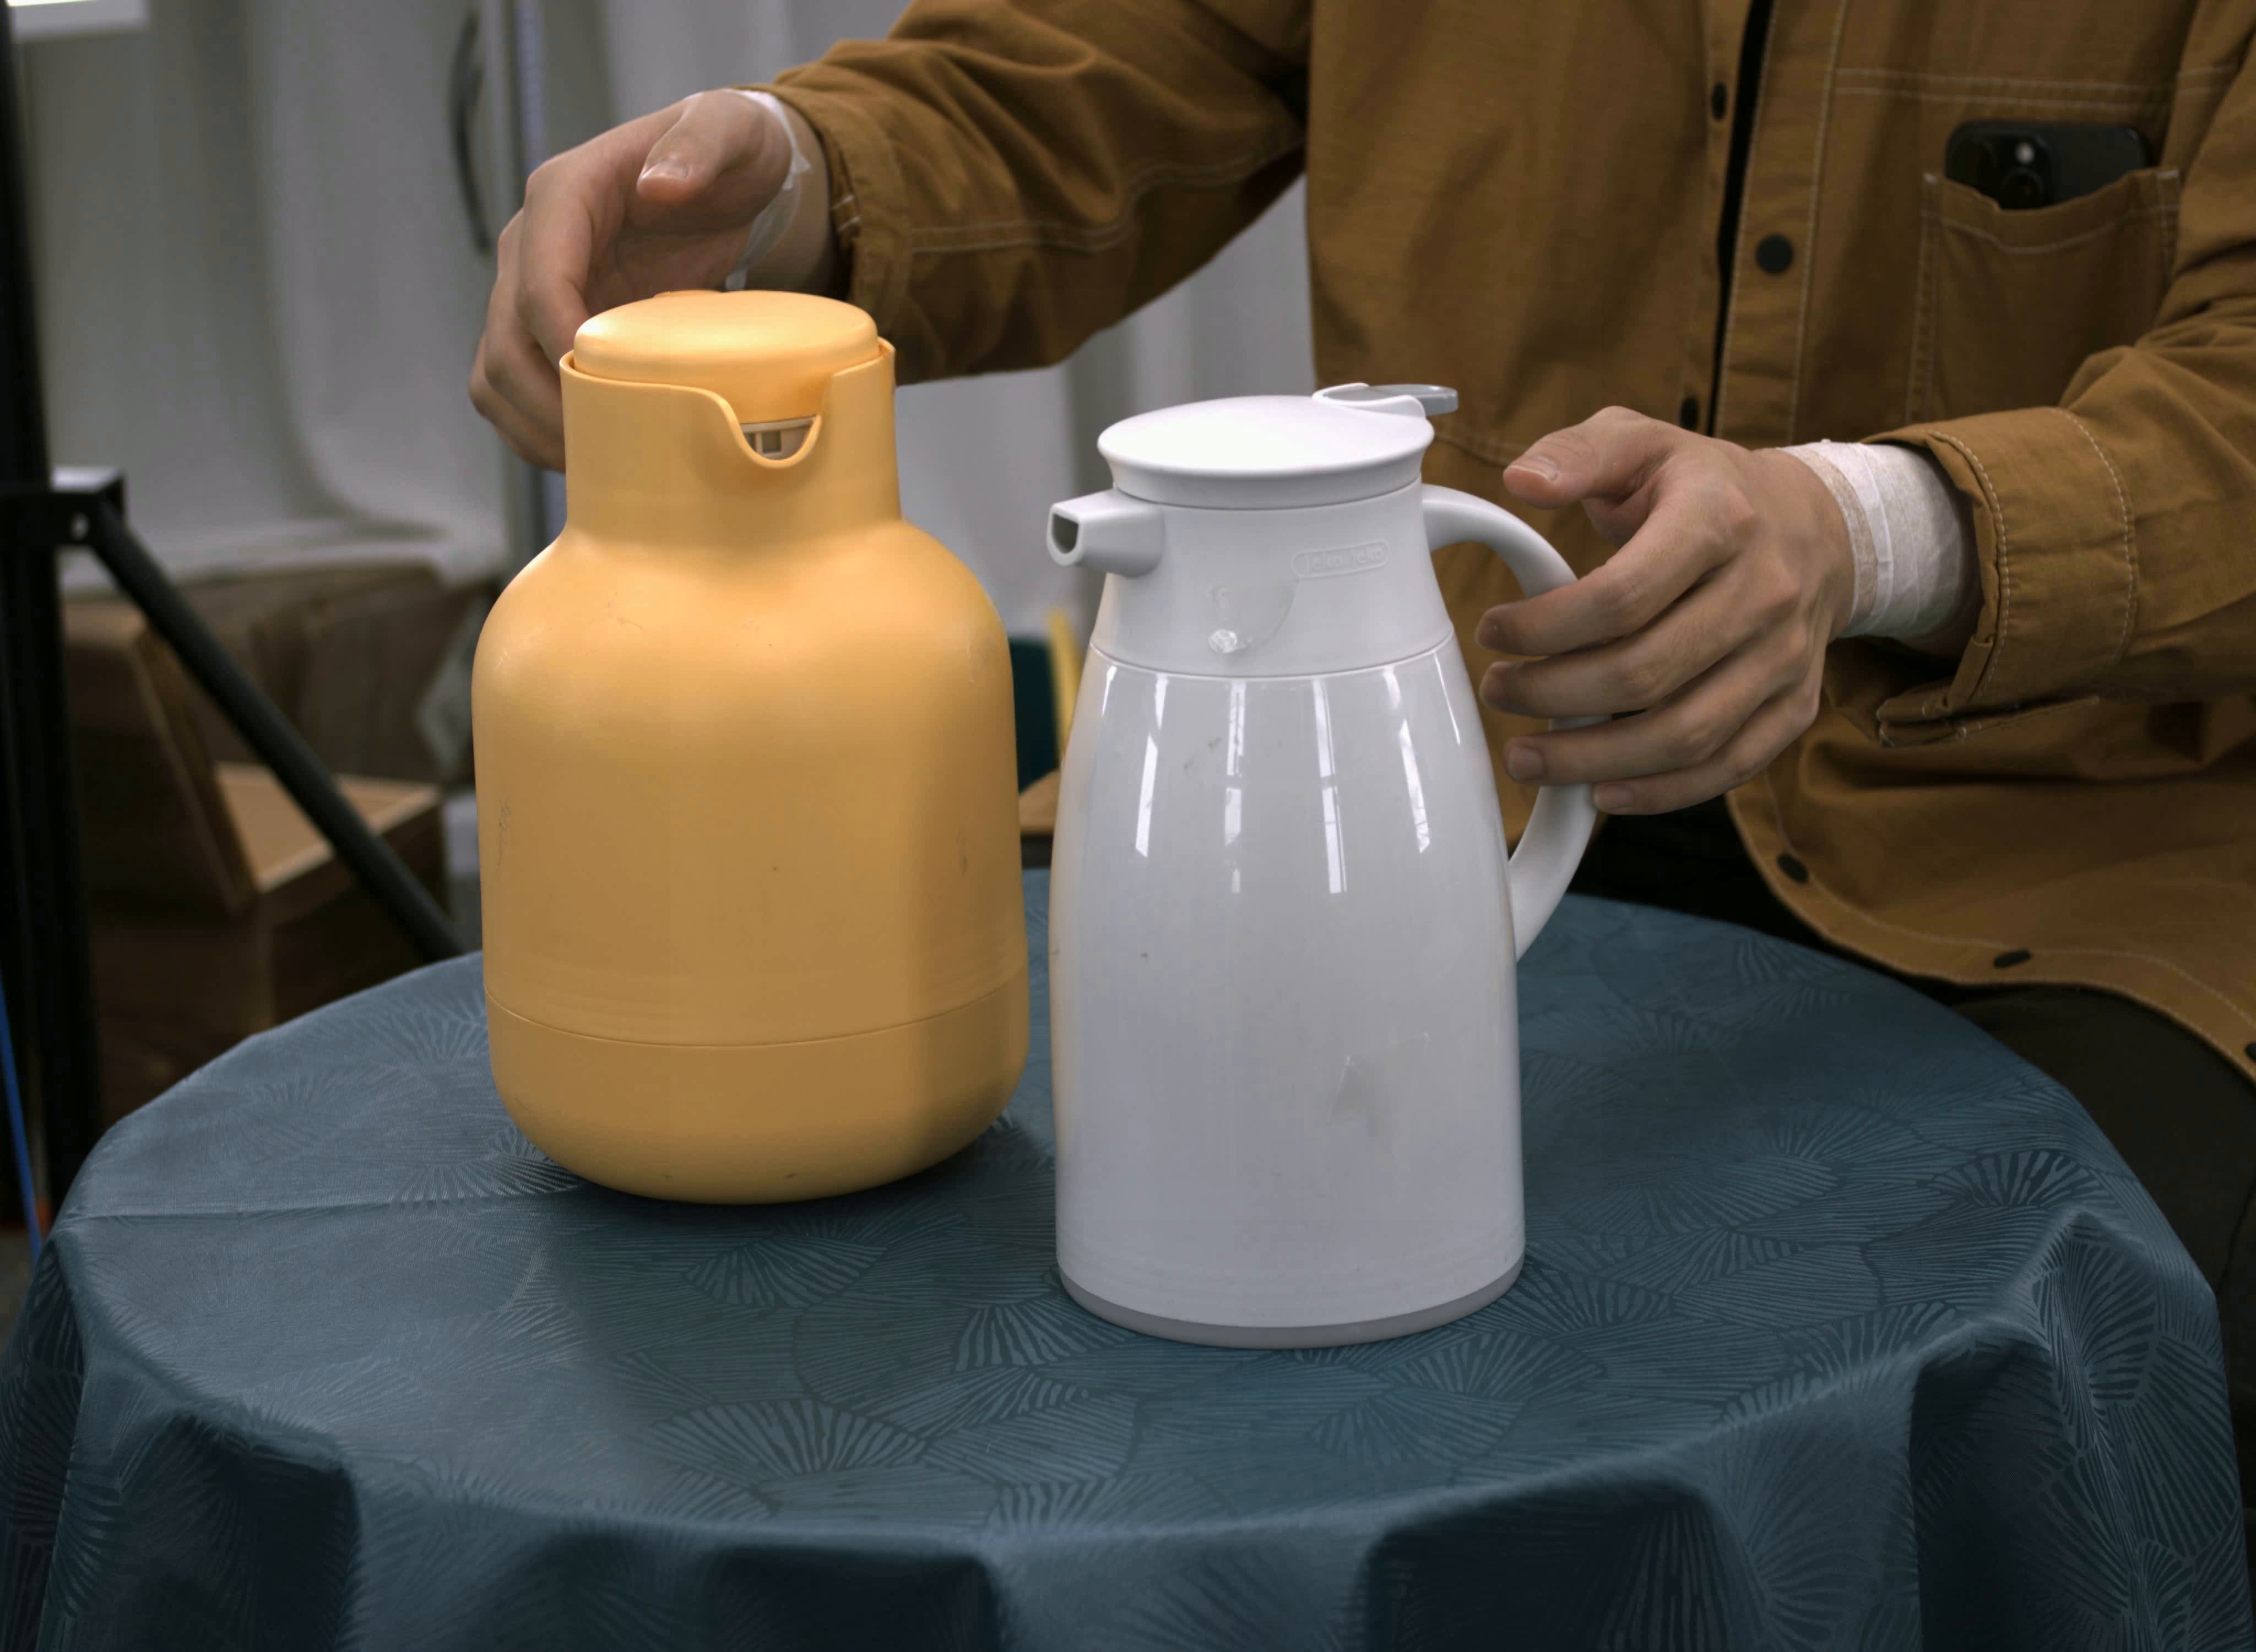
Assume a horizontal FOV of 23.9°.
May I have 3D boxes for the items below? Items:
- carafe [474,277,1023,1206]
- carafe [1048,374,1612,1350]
[{"bbox_3d":[-0.116,-0.033,1.598,0.161,0.260,0.205,-3,17,-12],"label":"carafe"},{"bbox_3d":[0.058,0.002,1.467,0.164,0.248,0.135,-9,16,-25],"label":"carafe"}]
